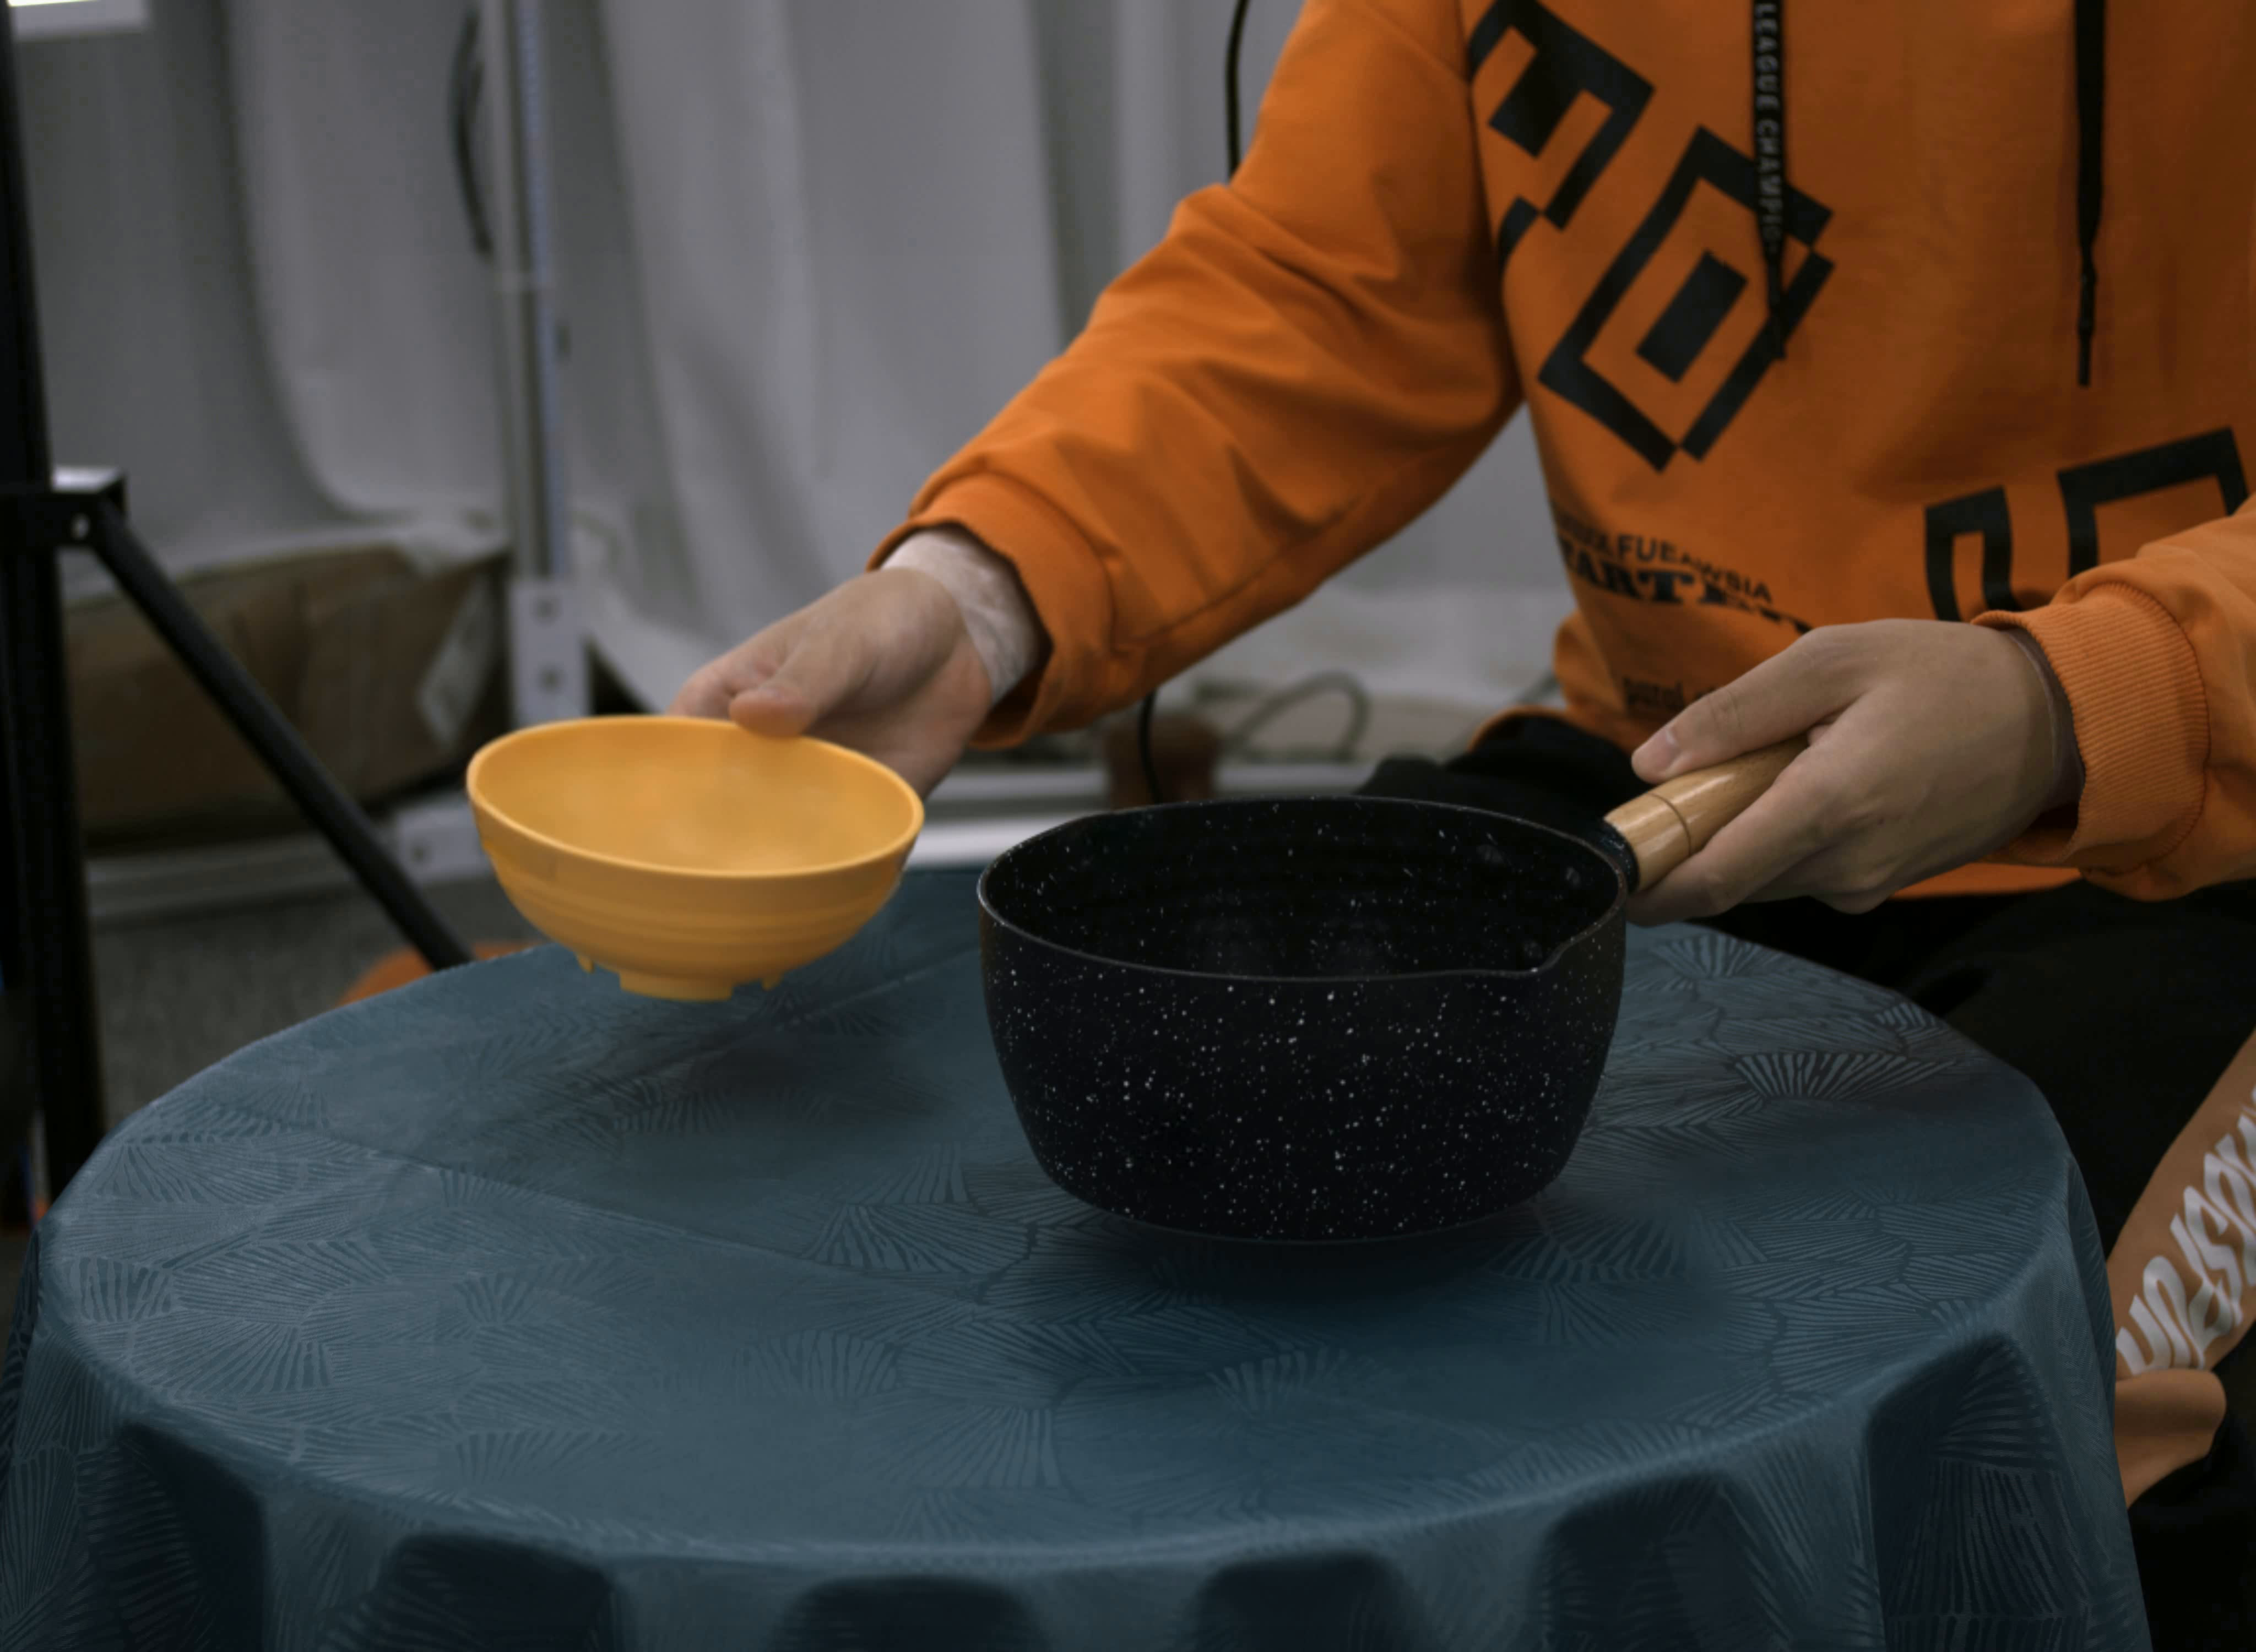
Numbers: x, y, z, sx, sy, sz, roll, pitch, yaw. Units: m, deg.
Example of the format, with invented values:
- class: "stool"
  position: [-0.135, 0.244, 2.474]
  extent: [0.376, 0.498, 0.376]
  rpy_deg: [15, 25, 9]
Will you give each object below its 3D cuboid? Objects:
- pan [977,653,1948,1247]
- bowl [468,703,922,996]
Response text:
- class: "pan"
  position: [0.112, 0.031, 1.551]
  extent: [0.335, 0.108, 0.212]
  rpy_deg: [-14, 19, -35]
- class: "bowl"
  position: [-0.140, 0.014, 1.684]
  extent: [0.144, 0.060, 0.146]
  rpy_deg: [7, 20, -4]
